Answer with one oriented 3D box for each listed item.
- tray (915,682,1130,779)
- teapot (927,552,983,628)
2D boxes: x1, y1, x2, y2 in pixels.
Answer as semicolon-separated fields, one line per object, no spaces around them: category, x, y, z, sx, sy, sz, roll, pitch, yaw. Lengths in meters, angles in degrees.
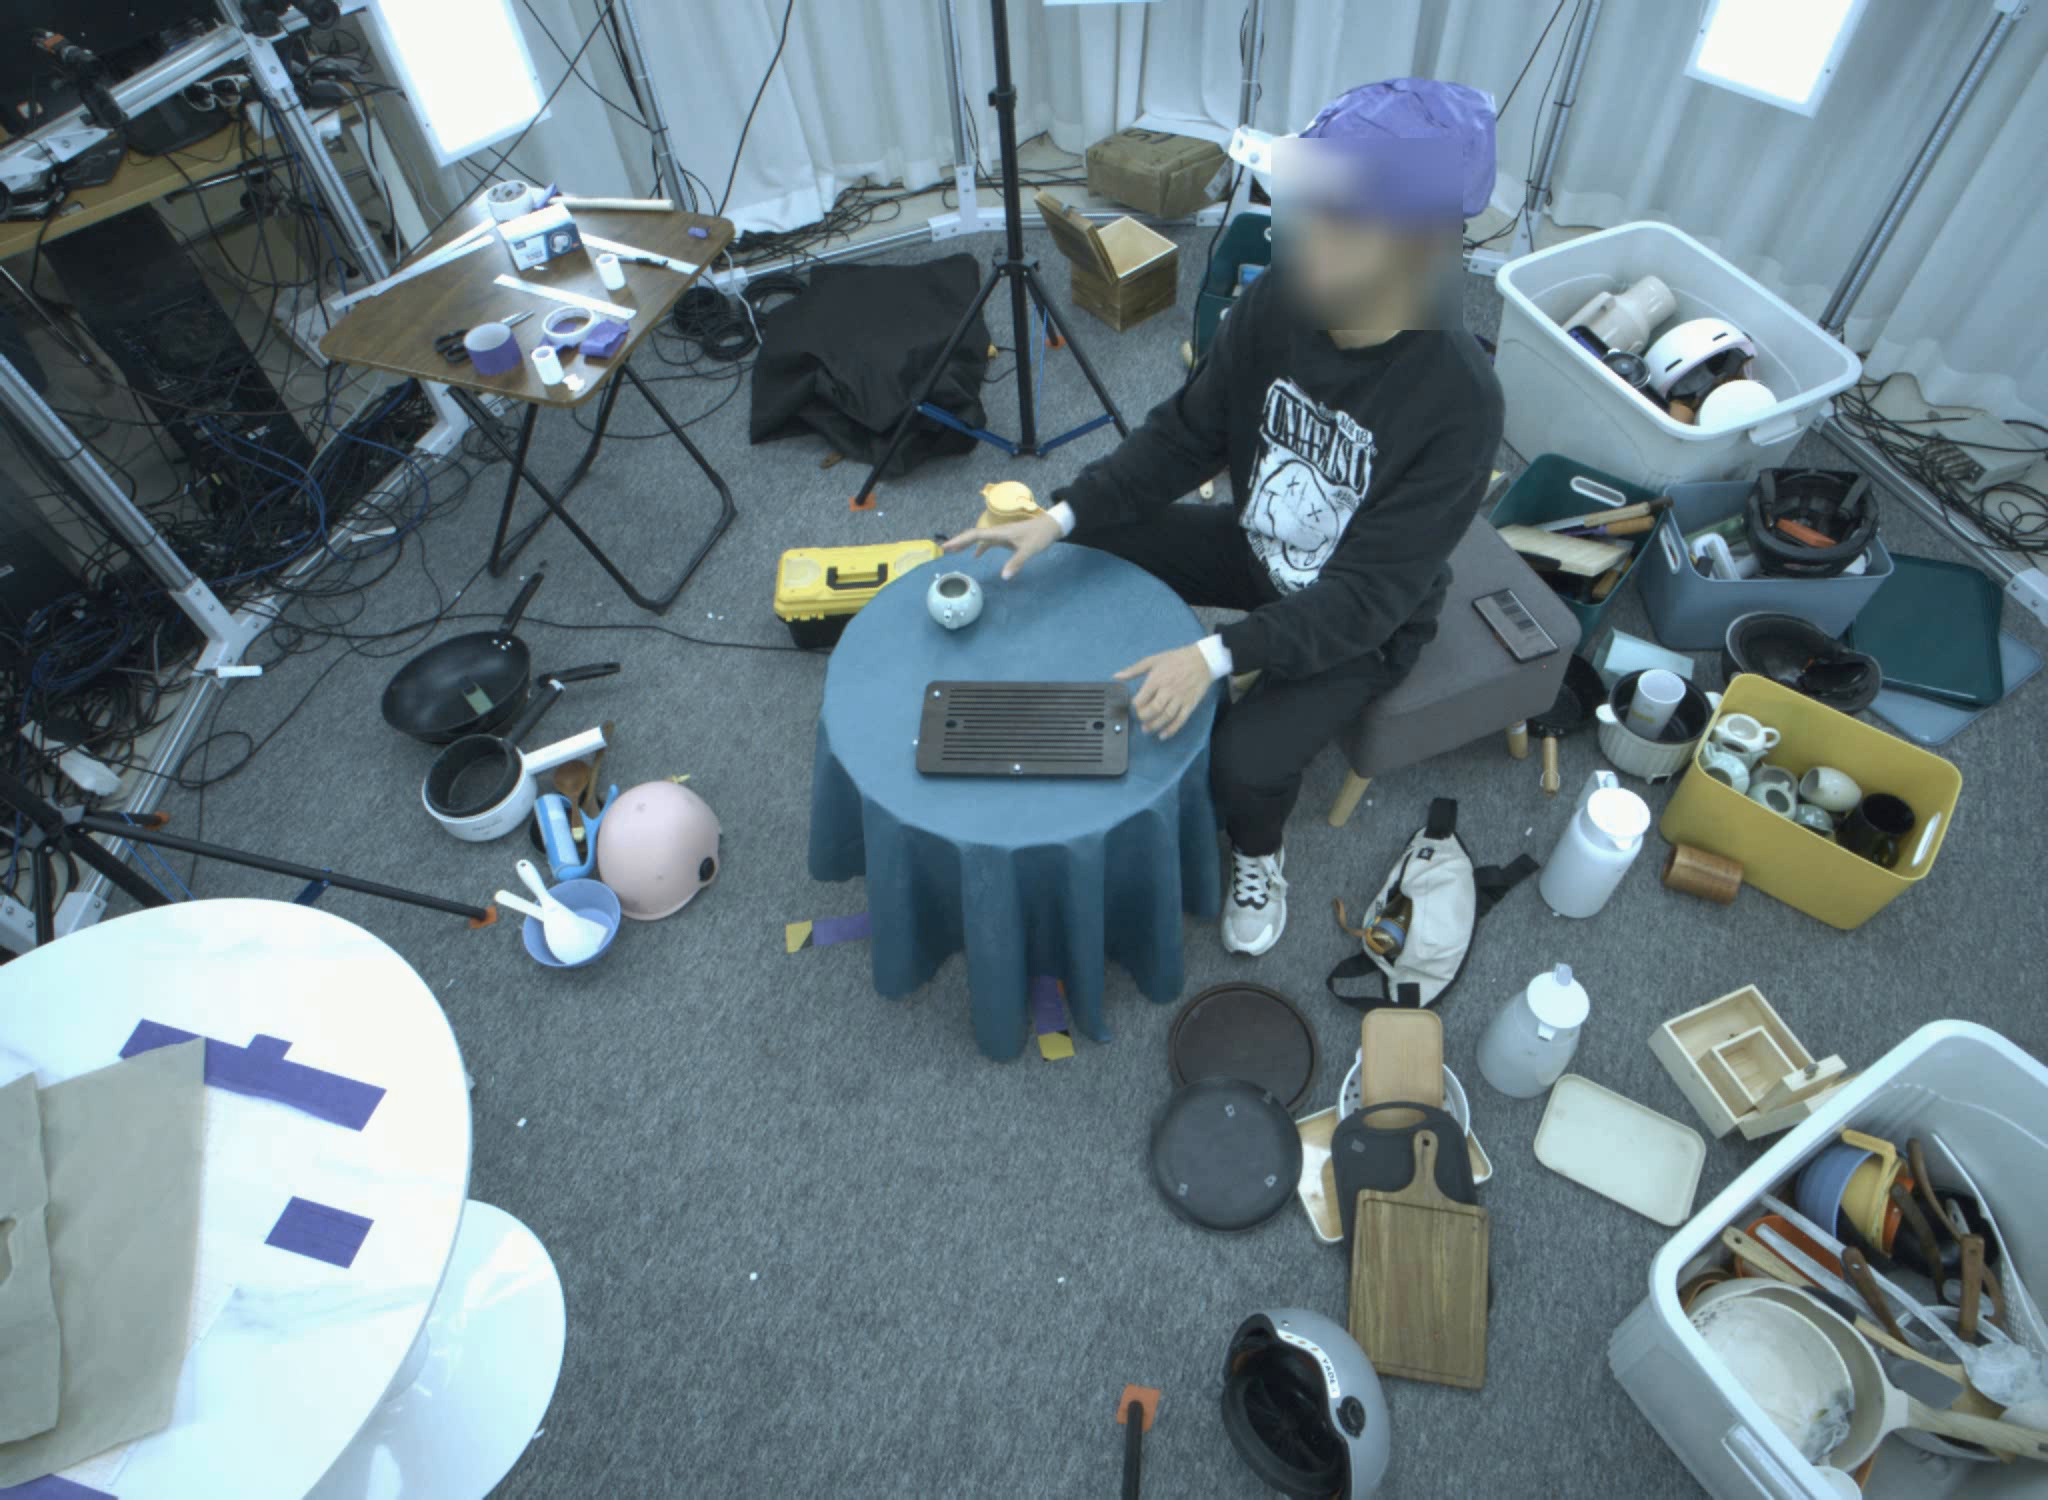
tray;0.001;-0.028;1.792;0.305;0.019;0.168;1;54;2
teapot;-0.108;-0.235;1.910;0.088;0.075;0.143;4;56;6
